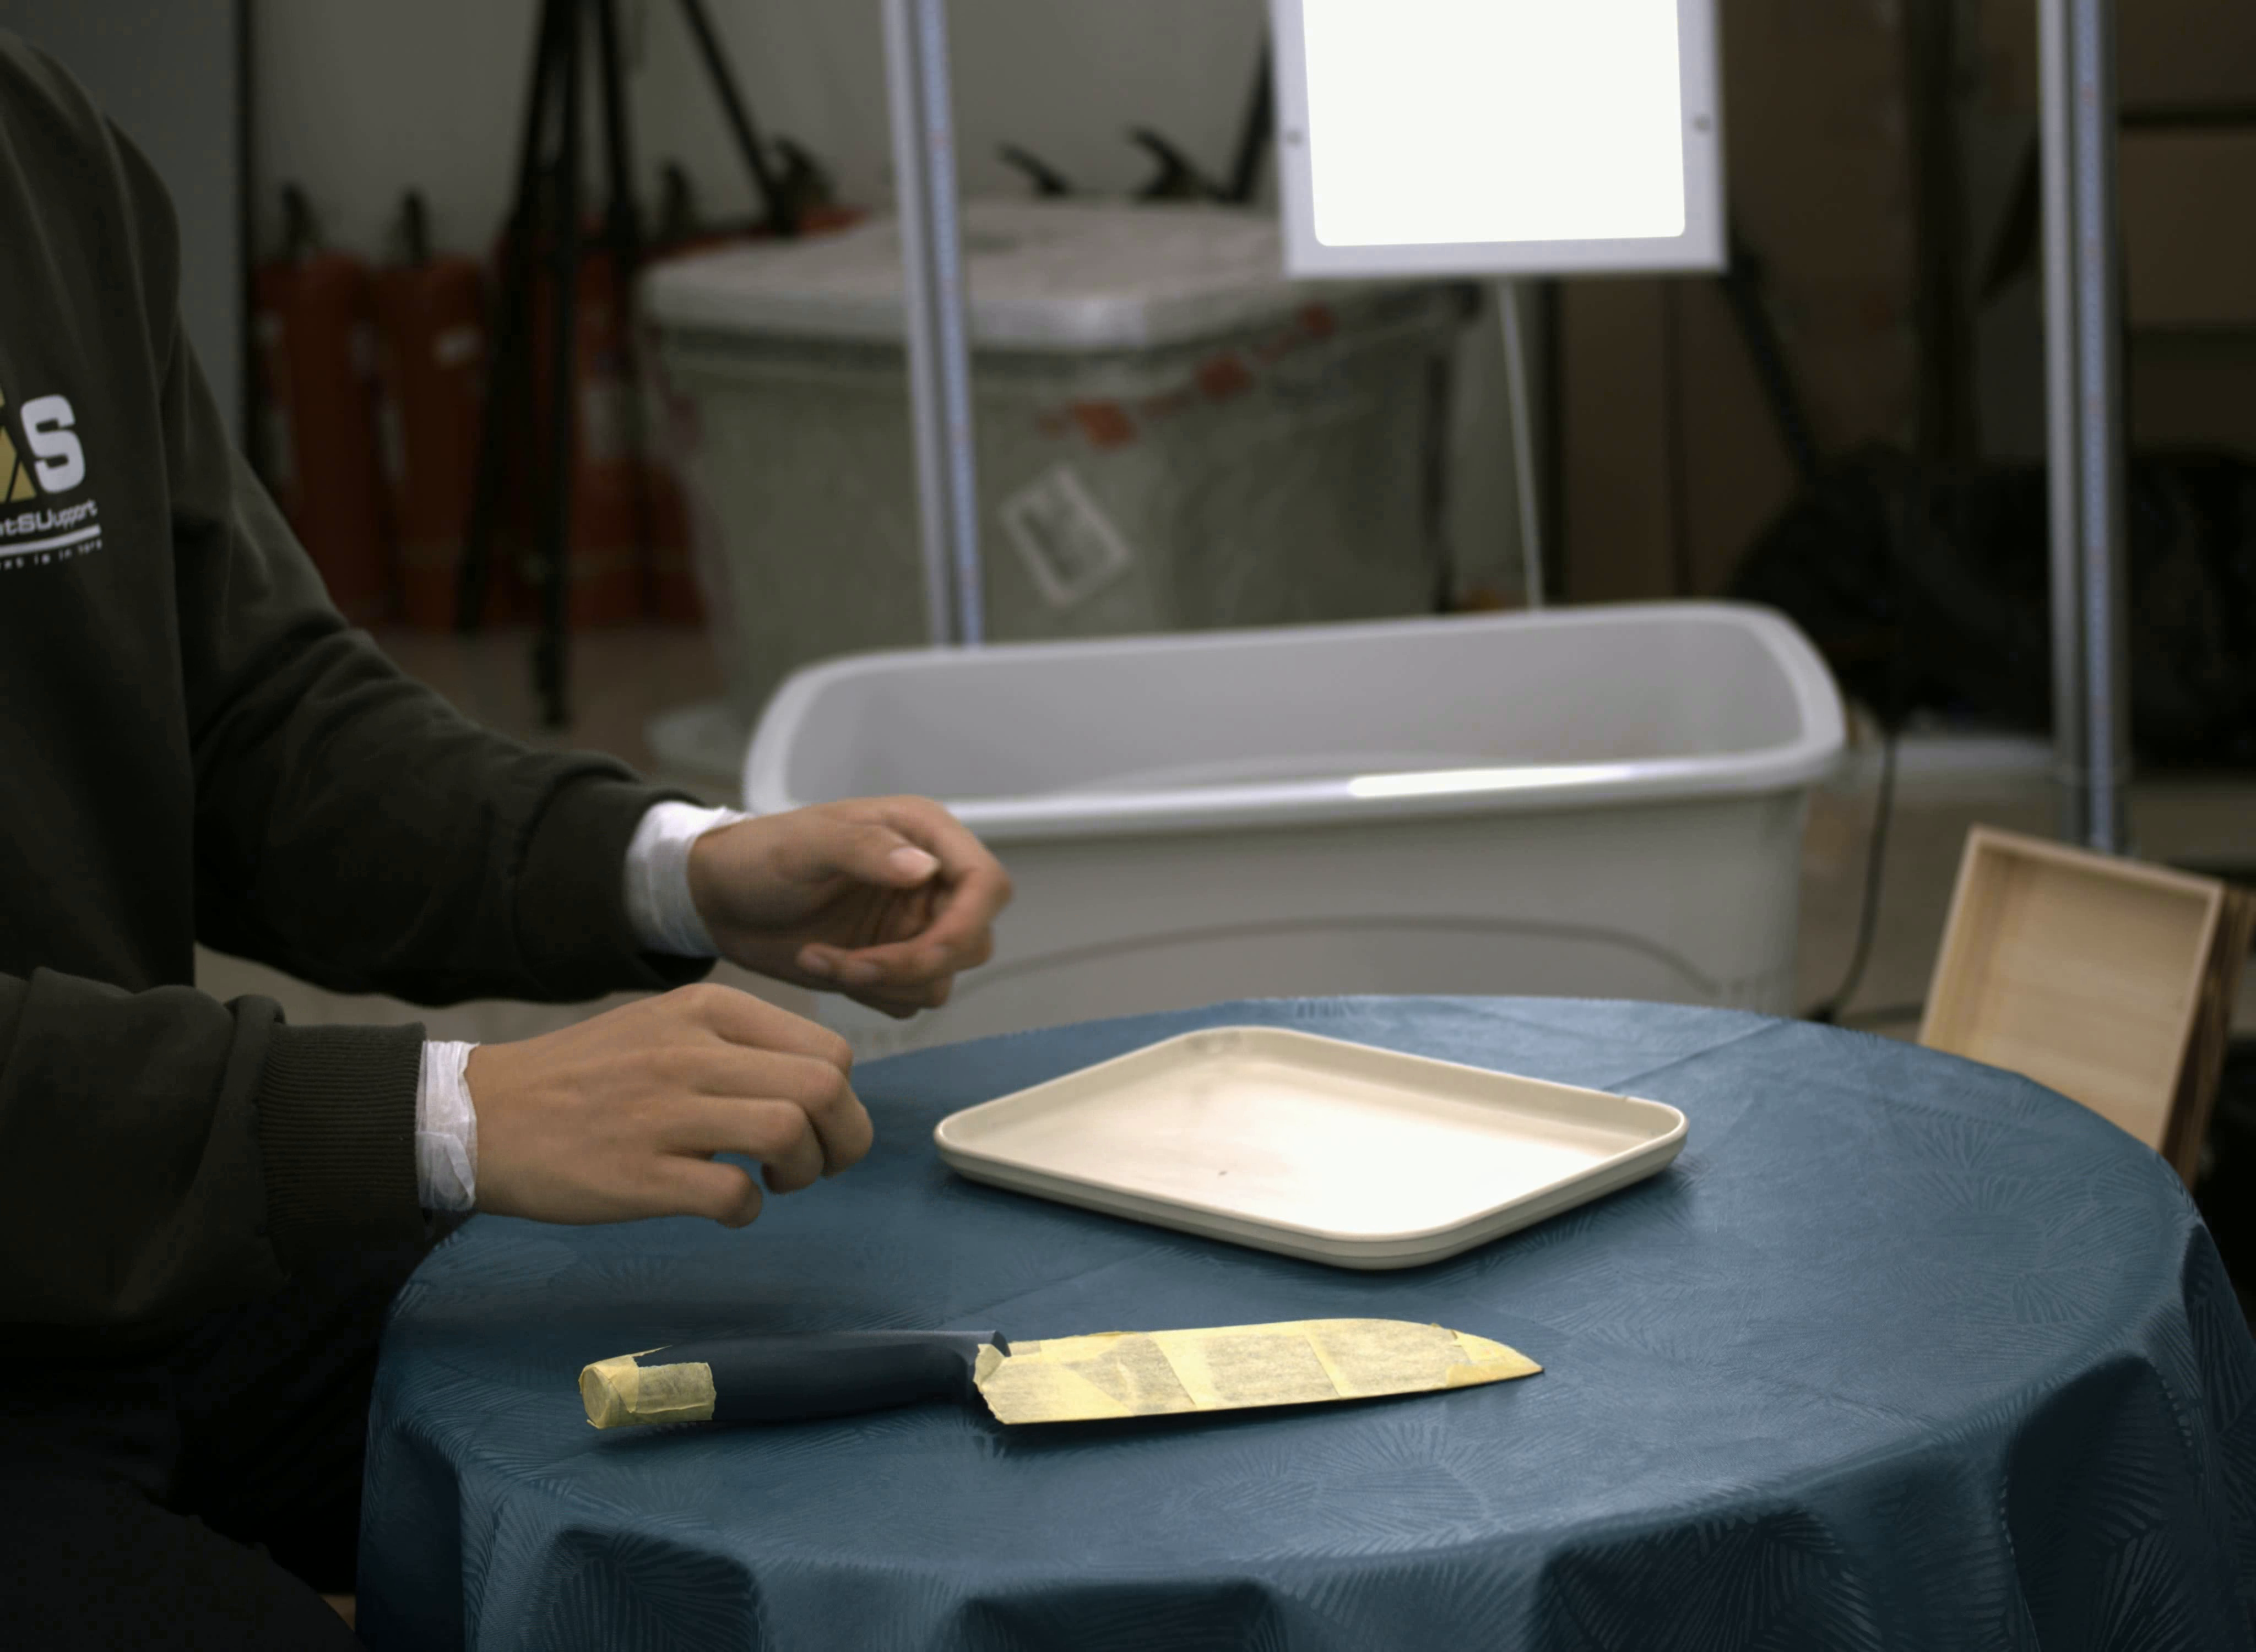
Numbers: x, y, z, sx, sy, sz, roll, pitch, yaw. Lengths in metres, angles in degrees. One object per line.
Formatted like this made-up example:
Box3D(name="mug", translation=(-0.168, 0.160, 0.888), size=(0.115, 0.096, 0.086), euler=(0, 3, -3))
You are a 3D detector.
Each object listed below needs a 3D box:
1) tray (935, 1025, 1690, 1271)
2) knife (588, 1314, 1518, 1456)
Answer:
Box3D(name="tray", translation=(0.063, 0.110, 1.908), size=(0.167, 0.017, 0.245), euler=(-18, 18, -40))
Box3D(name="knife", translation=(-0.021, 0.172, 1.694), size=(0.288, 0.027, 0.081), euler=(-5, 12, -3))
